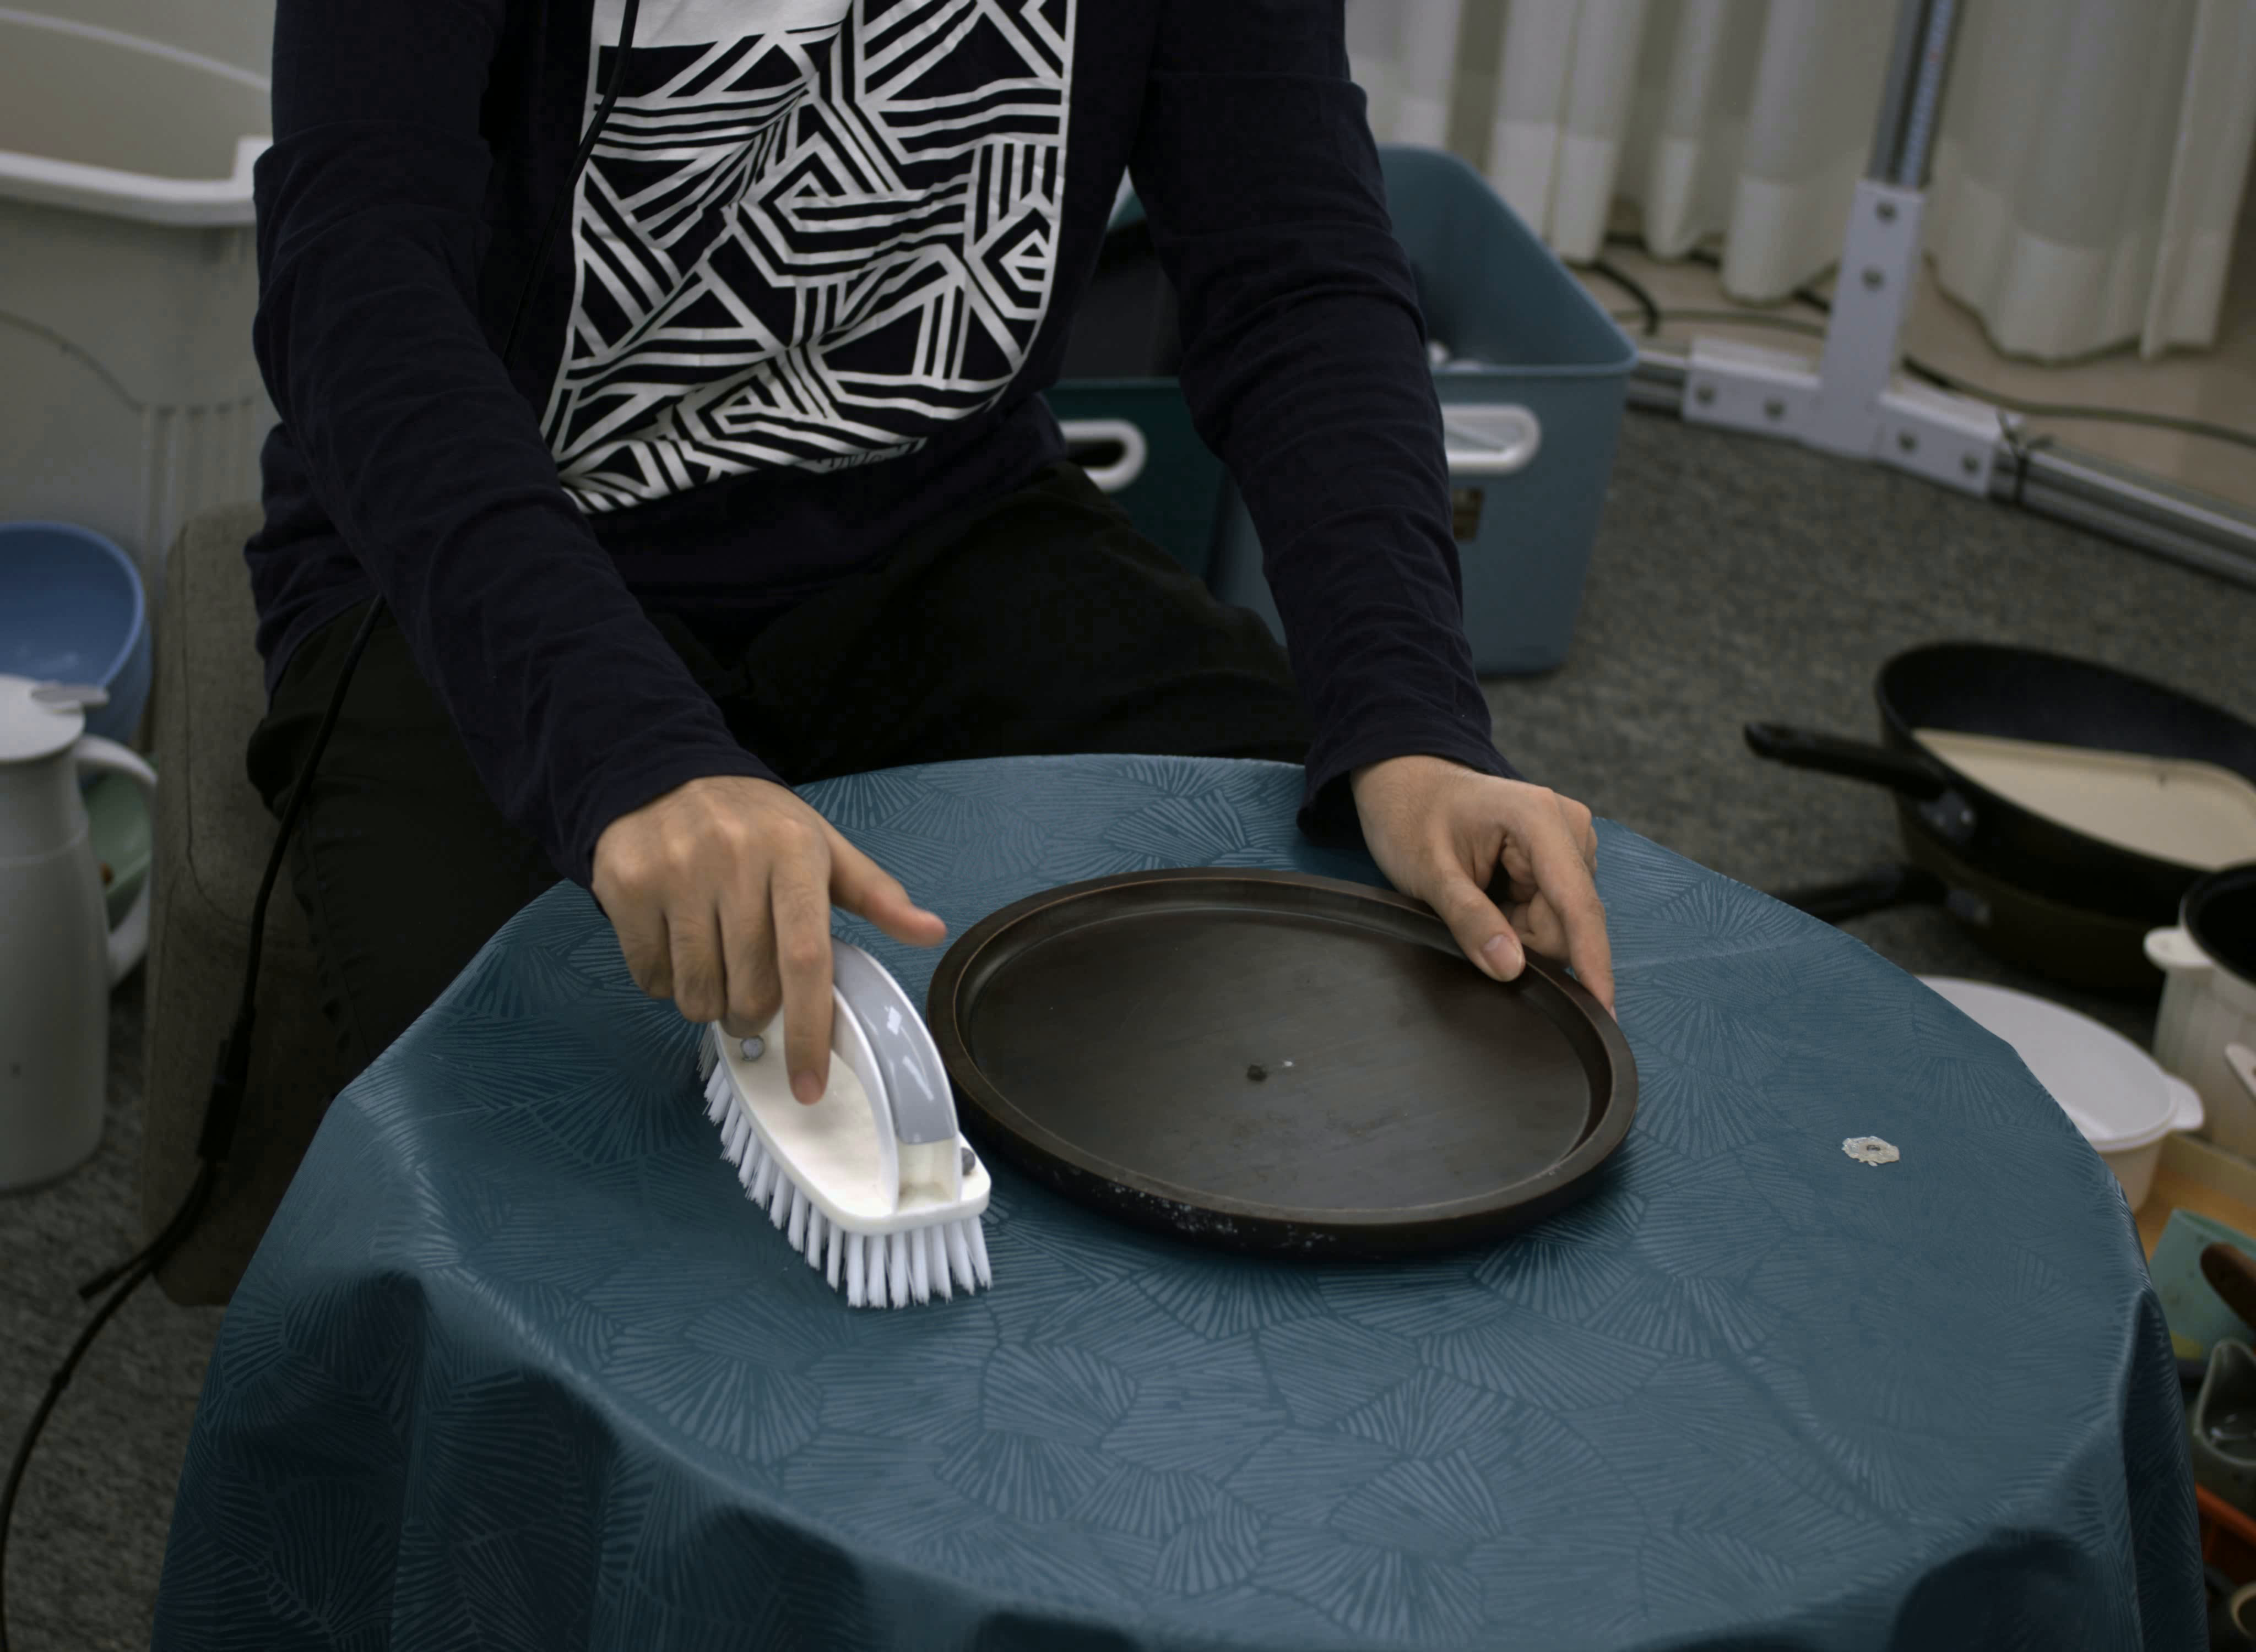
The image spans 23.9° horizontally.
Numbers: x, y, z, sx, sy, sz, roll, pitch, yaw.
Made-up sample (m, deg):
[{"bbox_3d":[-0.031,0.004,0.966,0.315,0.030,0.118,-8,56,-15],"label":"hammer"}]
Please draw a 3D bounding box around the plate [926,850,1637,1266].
[{"bbox_3d":[0.053,0.083,1.874,0.254,0.029,0.256,6,28,-3],"label":"plate"}]

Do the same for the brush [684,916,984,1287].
[{"bbox_3d":[-0.104,0.077,1.774,0.061,0.094,0.177,-5,27,-29],"label":"brush"}]
